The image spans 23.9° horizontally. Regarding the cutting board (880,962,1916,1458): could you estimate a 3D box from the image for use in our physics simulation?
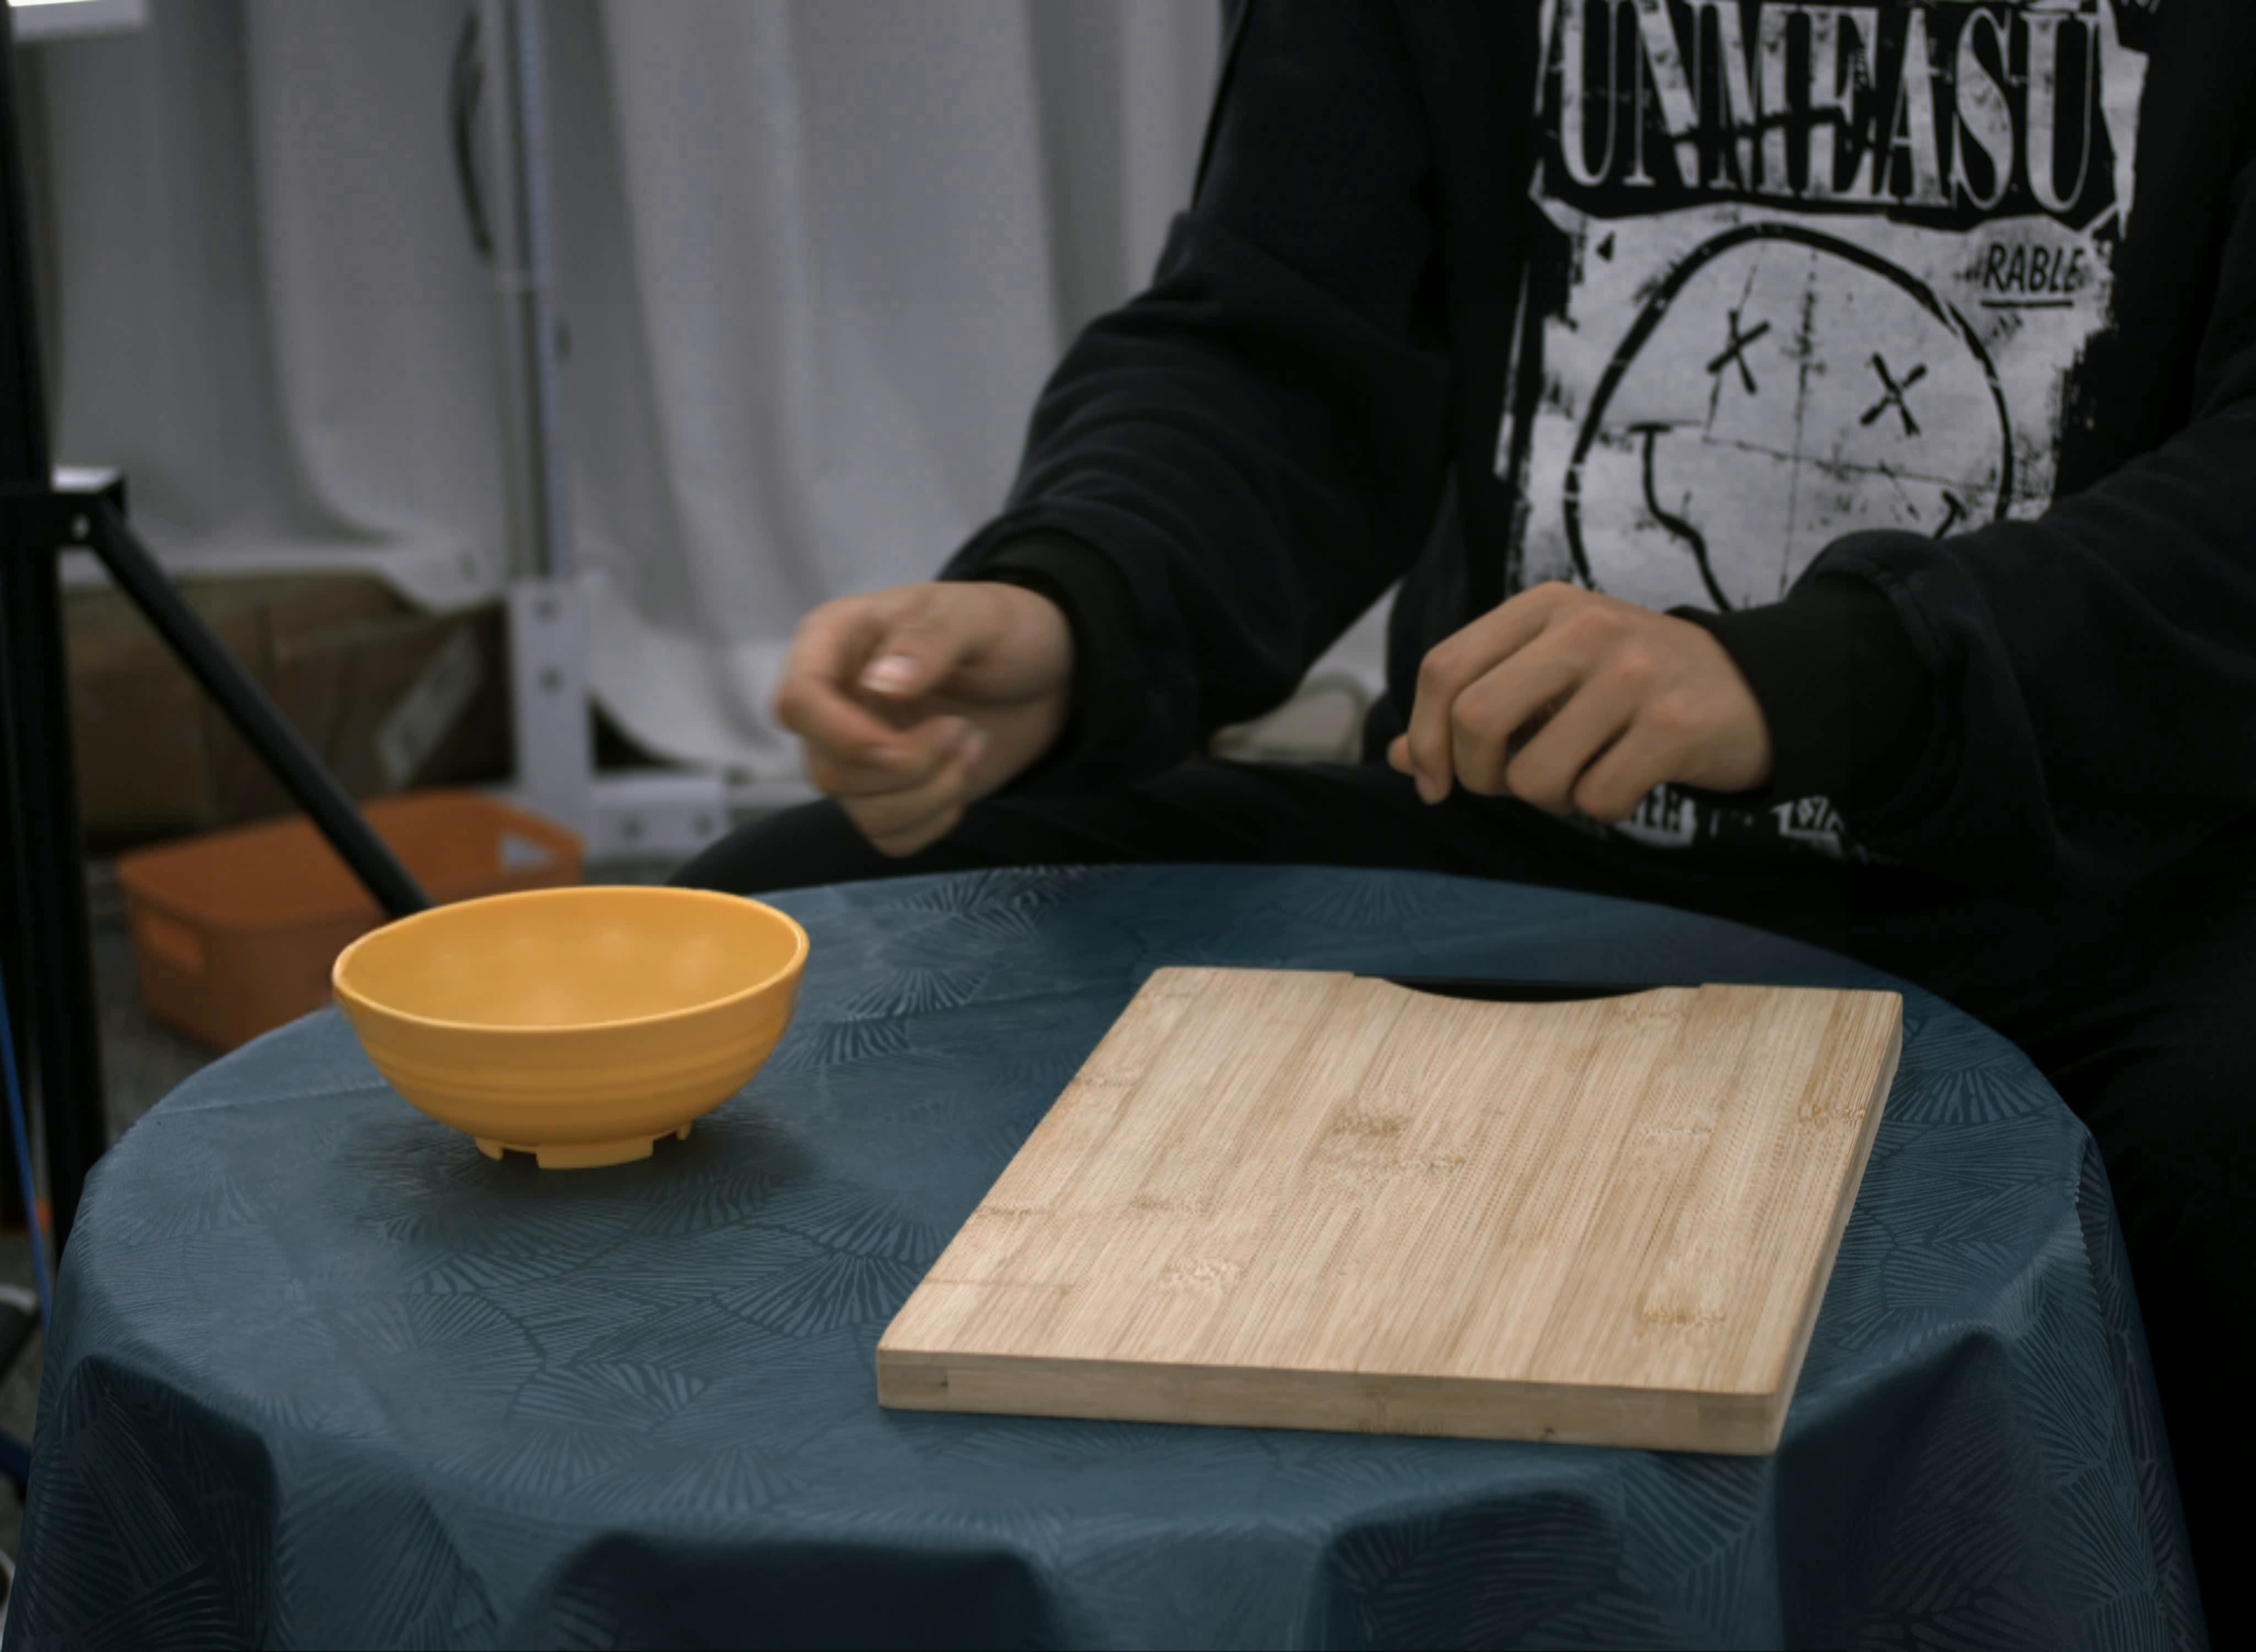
[{"bbox_3d":[0.090,0.103,1.531,0.252,0.023,0.346,1,16,13],"label":"cutting board"}]

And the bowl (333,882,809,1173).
[{"bbox_3d":[-0.169,0.067,1.628,0.144,0.060,0.146,0,17,-1],"label":"bowl"}]
